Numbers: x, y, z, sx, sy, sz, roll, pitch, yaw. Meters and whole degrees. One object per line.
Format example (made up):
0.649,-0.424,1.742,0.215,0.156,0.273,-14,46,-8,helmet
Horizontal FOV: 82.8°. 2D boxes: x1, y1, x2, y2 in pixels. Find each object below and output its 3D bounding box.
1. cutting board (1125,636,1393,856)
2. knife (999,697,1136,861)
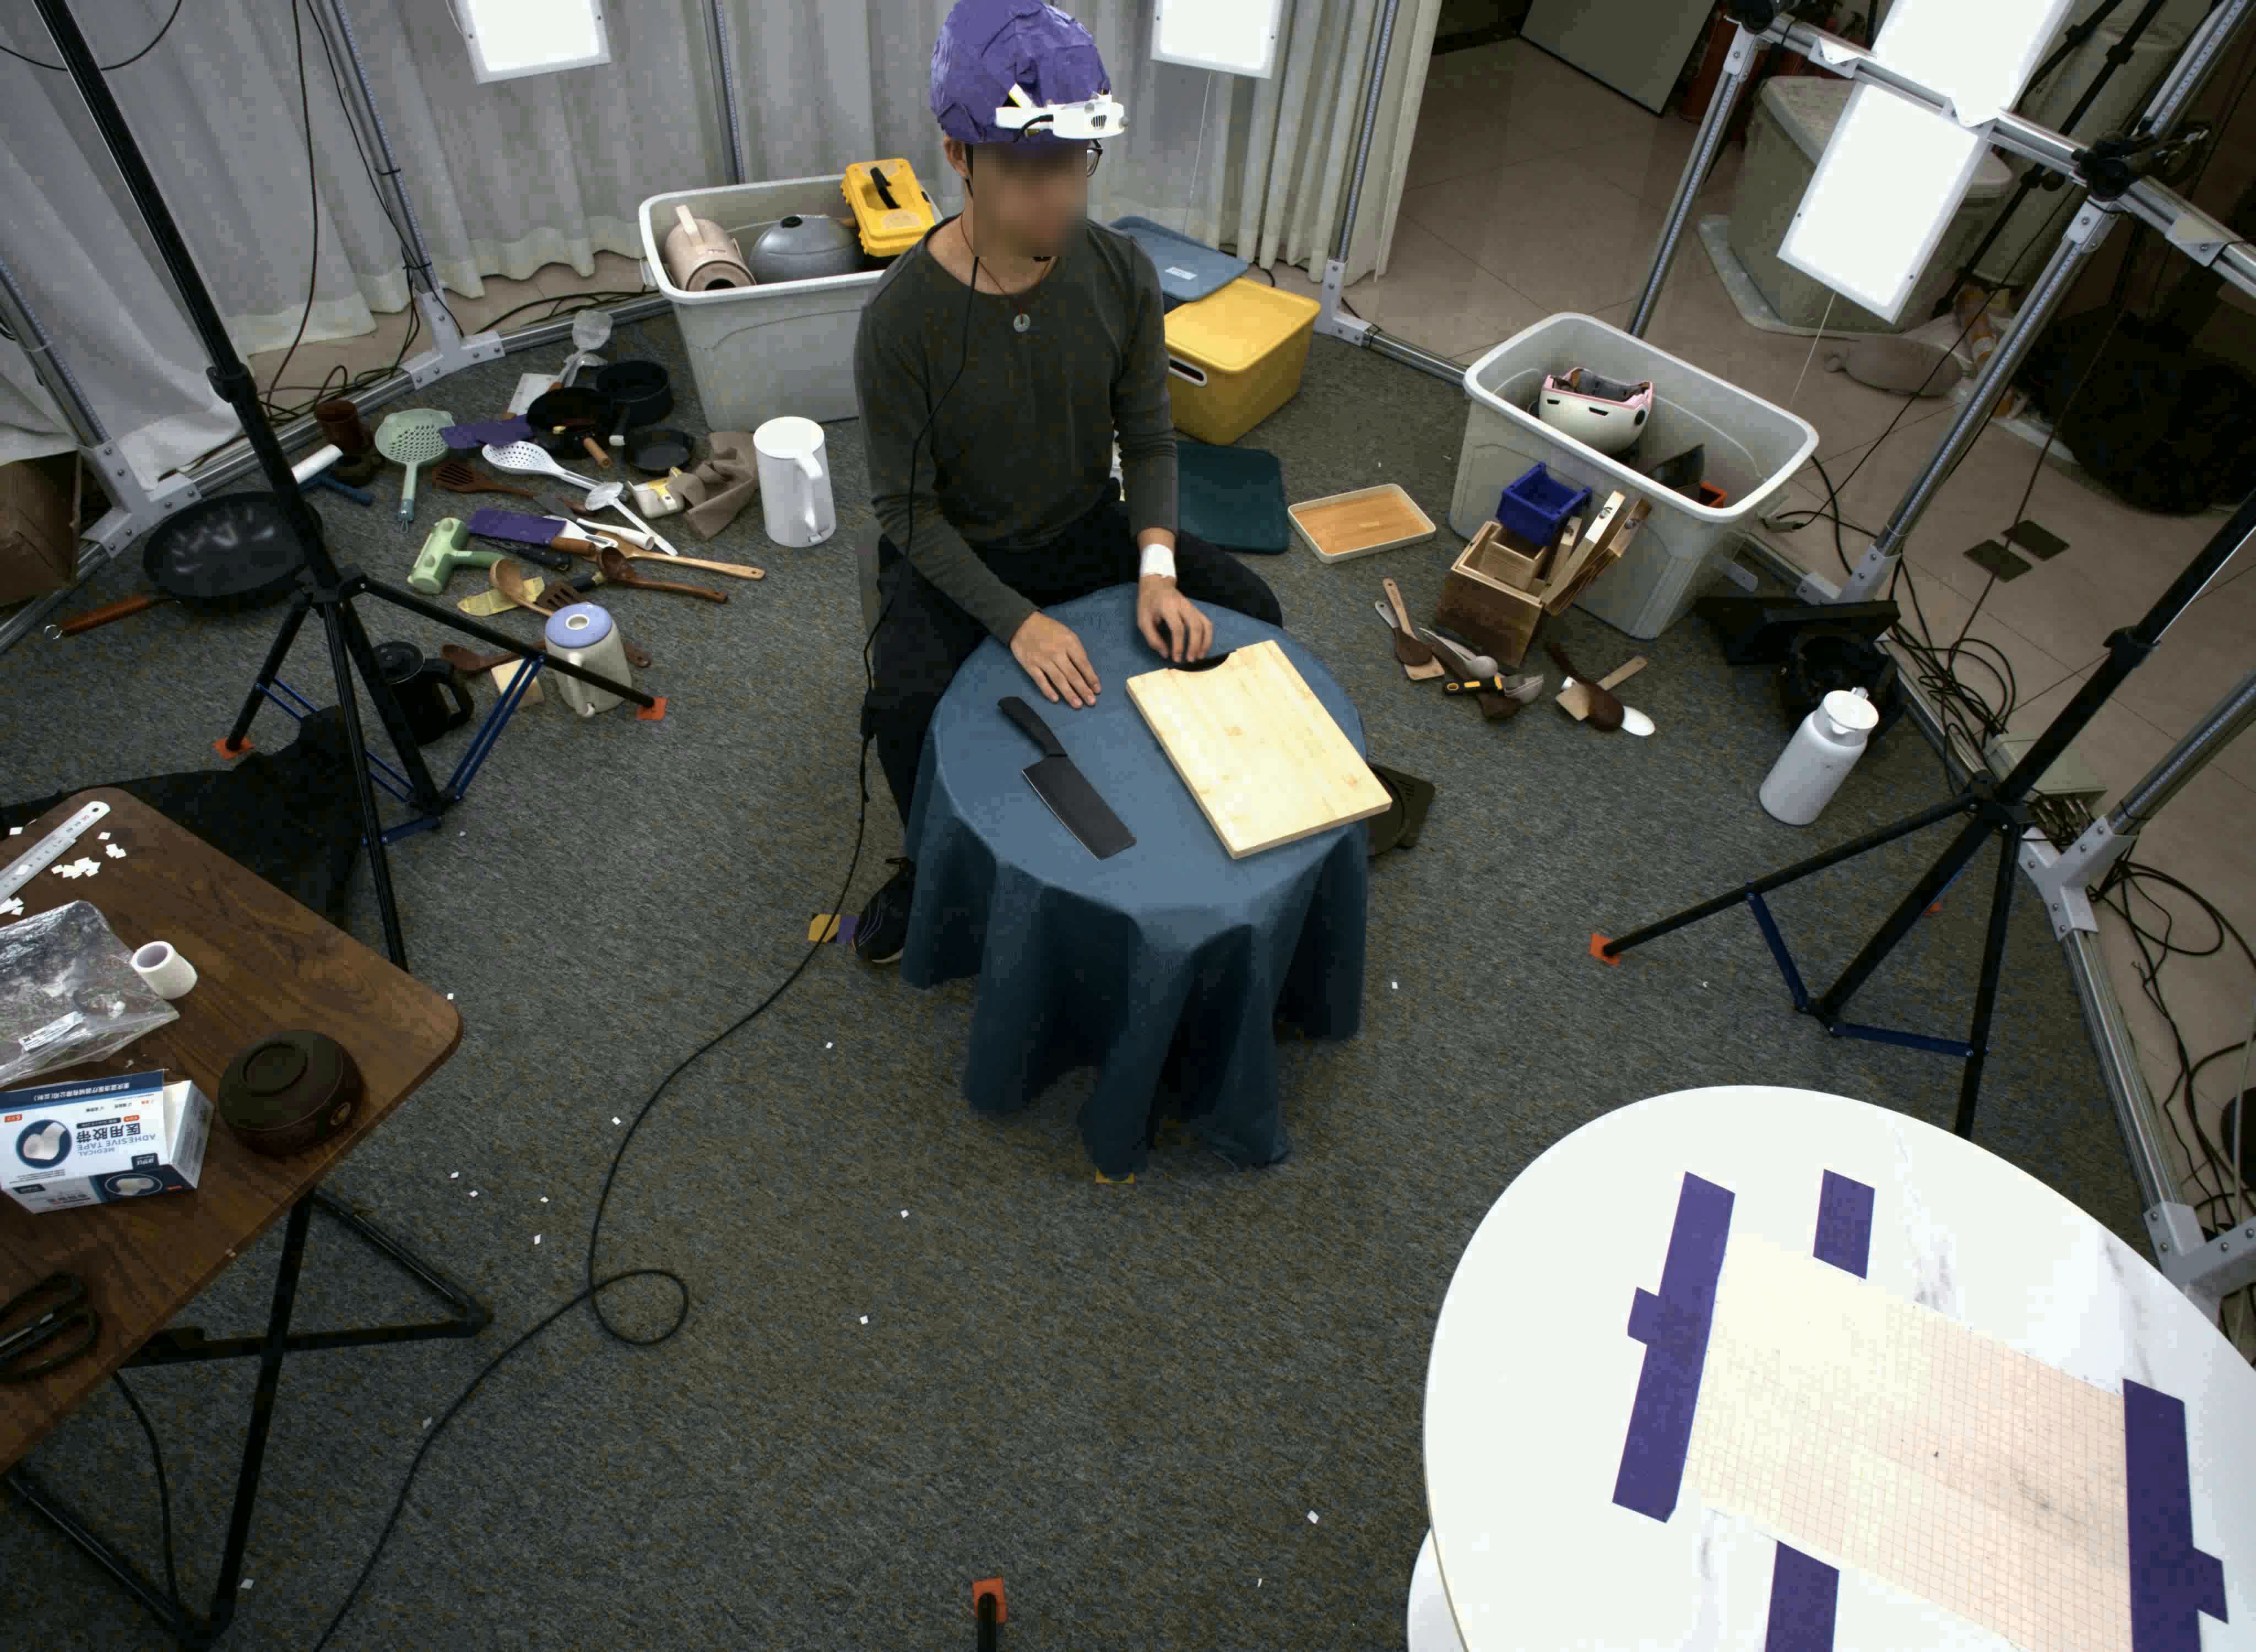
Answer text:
0.173,-0.119,1.772,0.251,0.023,0.356,-17,52,-18,cutting board
-0.094,-0.069,1.712,0.081,0.020,0.308,-22,56,-20,knife
